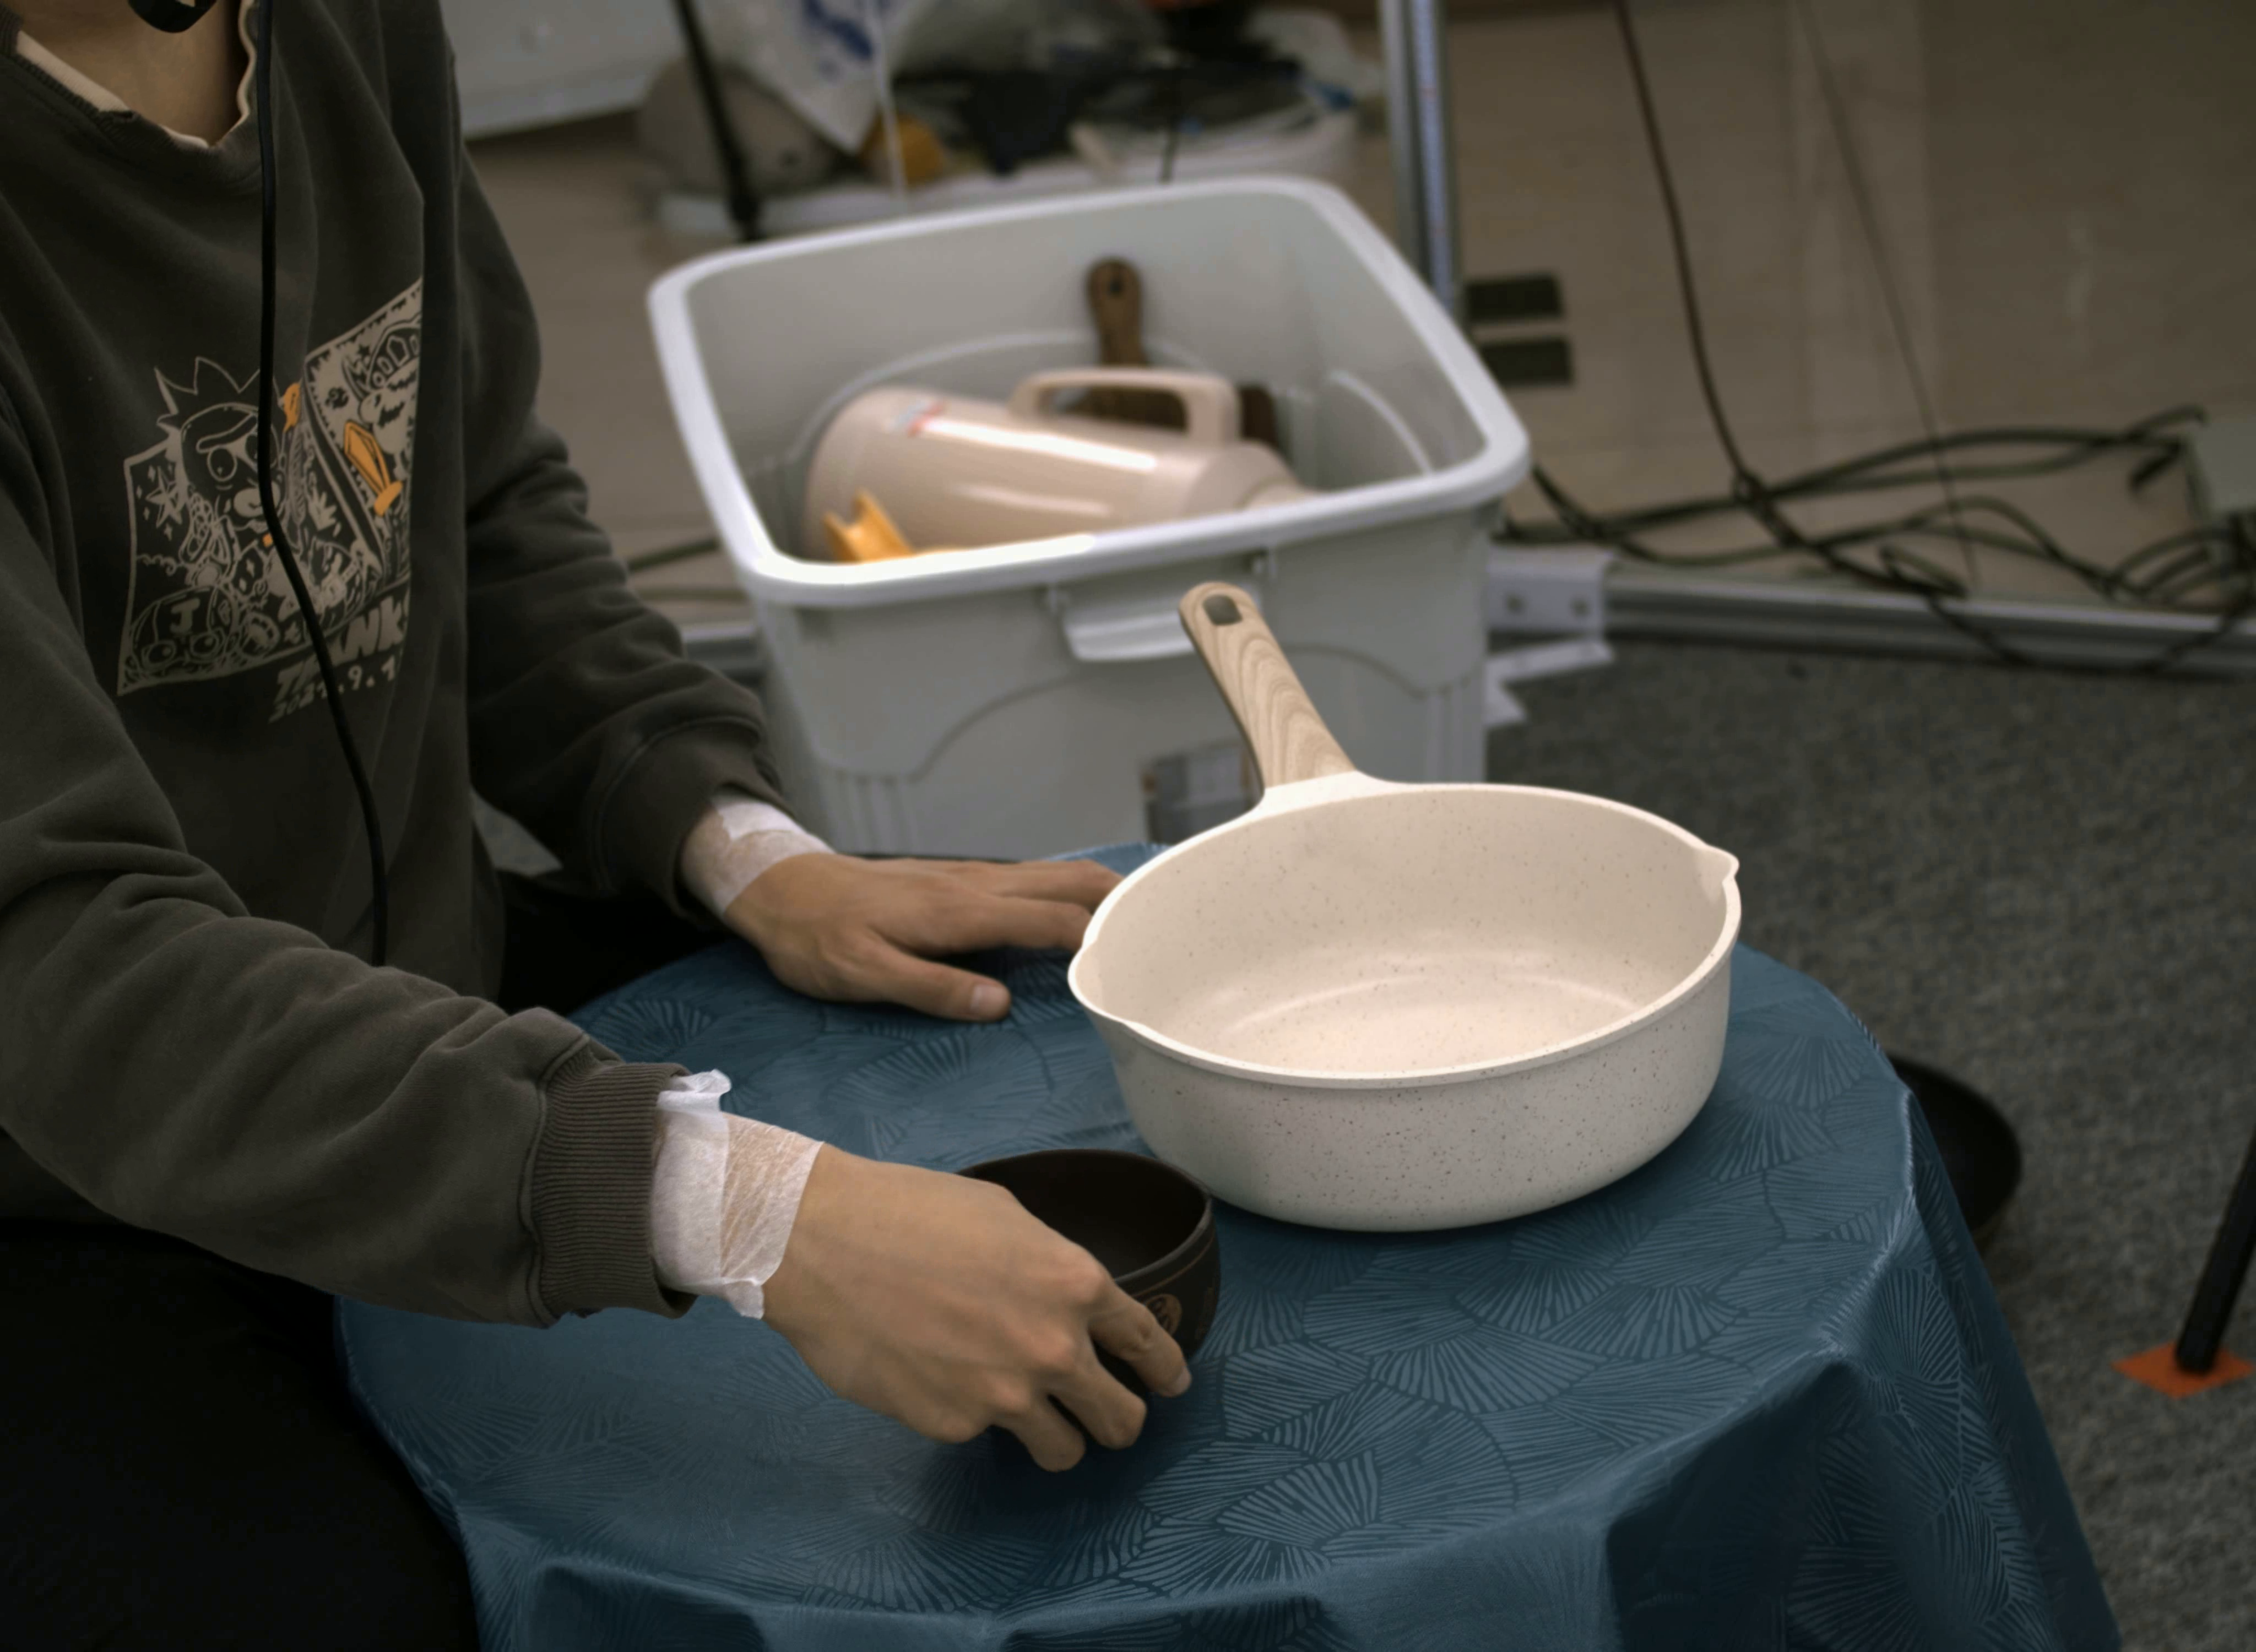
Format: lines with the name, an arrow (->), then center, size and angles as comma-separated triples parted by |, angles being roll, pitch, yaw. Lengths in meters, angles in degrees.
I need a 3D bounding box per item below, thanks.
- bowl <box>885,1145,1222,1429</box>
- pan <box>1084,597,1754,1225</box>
bowl -> -0.024, 0.169, 2.002 | 0.118, 0.071, 0.116 | -5, 26, 3
pan -> 0.093, 0.029, 2.241 | 0.263, 0.103, 0.429 | -13, 25, -9
